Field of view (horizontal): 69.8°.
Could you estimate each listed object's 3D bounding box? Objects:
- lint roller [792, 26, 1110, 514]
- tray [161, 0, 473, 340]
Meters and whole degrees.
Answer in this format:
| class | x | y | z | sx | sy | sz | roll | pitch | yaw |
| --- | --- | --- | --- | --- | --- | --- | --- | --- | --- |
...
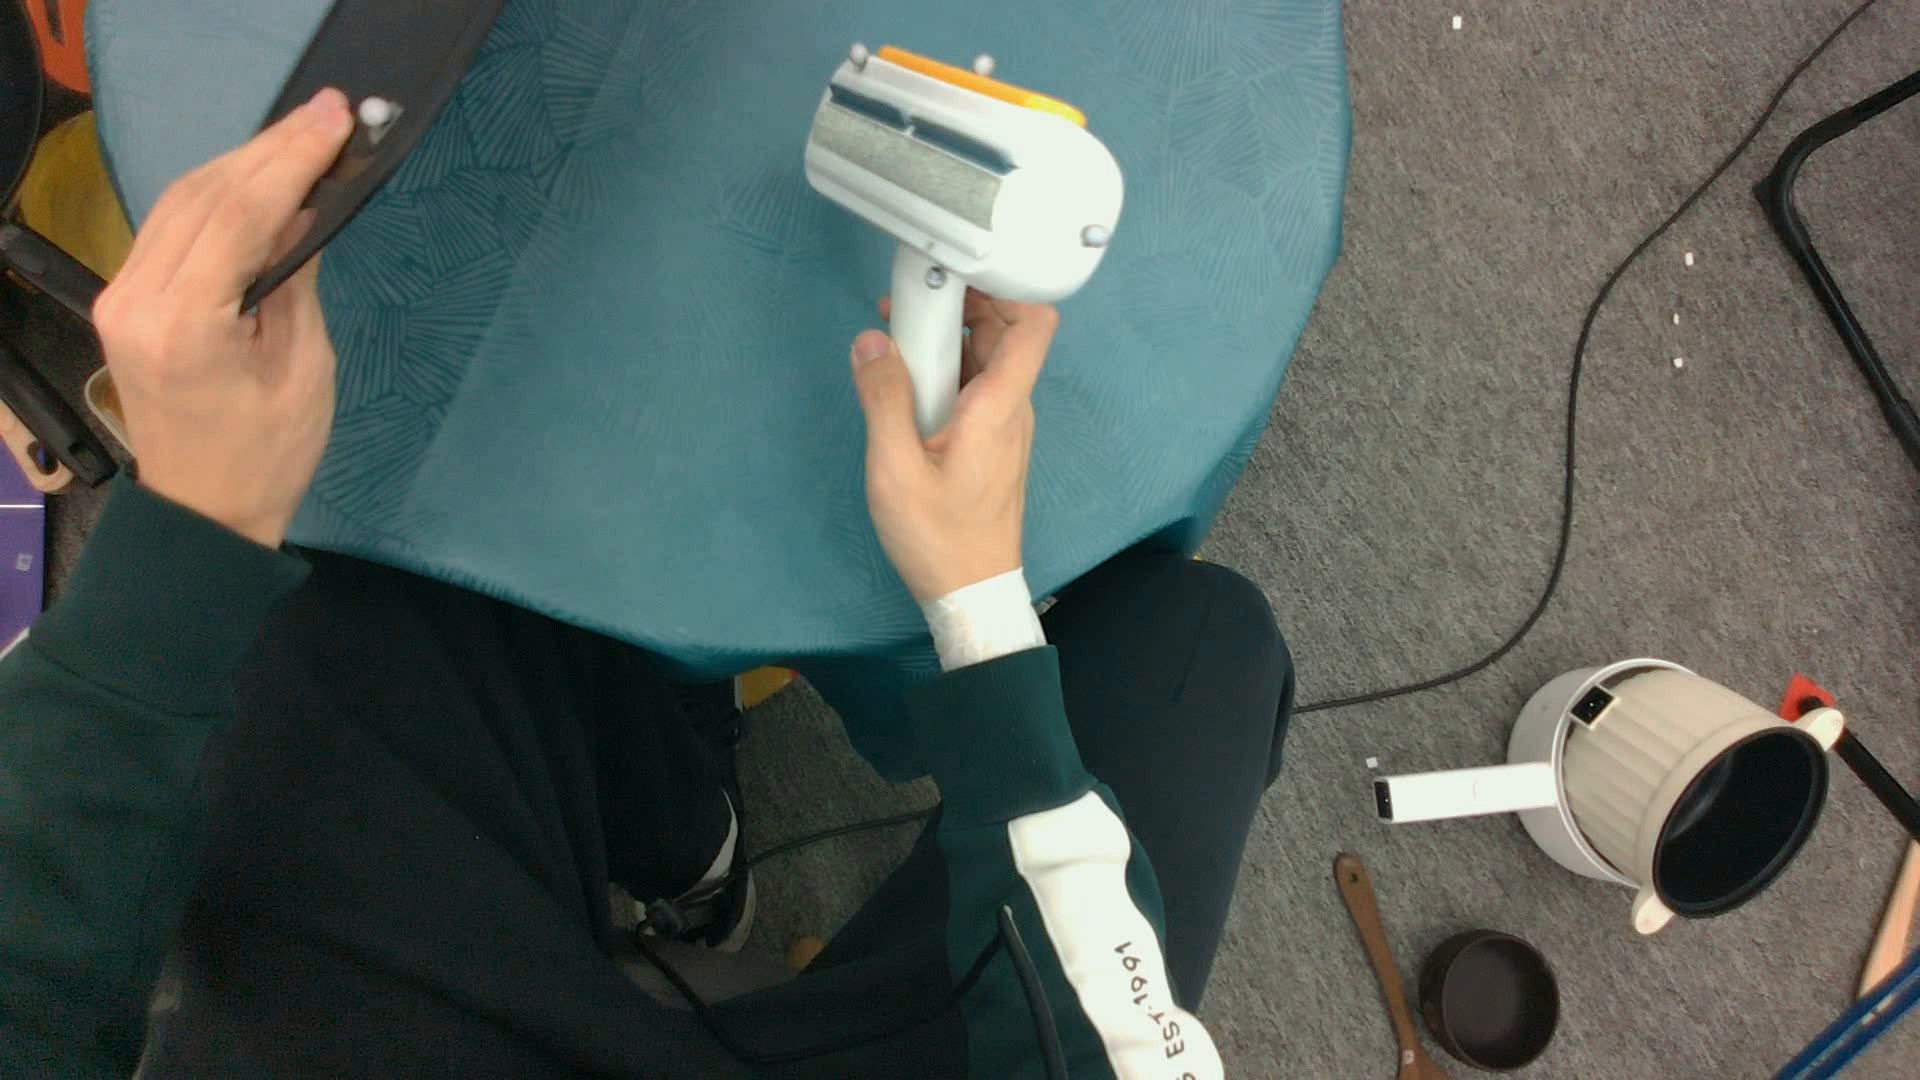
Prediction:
| class | x | y | z | sx | sy | sz | roll | pitch | yaw |
| --- | --- | --- | --- | --- | --- | --- | --- | --- | --- |
| lint roller | -0.023 | -0.099 | 0.568 | 0.074 | 0.193 | 0.191 | 2 | 118 | -35 |
| tray | -0.206 | -0.214 | 0.519 | 0.010 | 0.210 | 0.326 | 36 | 61 | -36 |
